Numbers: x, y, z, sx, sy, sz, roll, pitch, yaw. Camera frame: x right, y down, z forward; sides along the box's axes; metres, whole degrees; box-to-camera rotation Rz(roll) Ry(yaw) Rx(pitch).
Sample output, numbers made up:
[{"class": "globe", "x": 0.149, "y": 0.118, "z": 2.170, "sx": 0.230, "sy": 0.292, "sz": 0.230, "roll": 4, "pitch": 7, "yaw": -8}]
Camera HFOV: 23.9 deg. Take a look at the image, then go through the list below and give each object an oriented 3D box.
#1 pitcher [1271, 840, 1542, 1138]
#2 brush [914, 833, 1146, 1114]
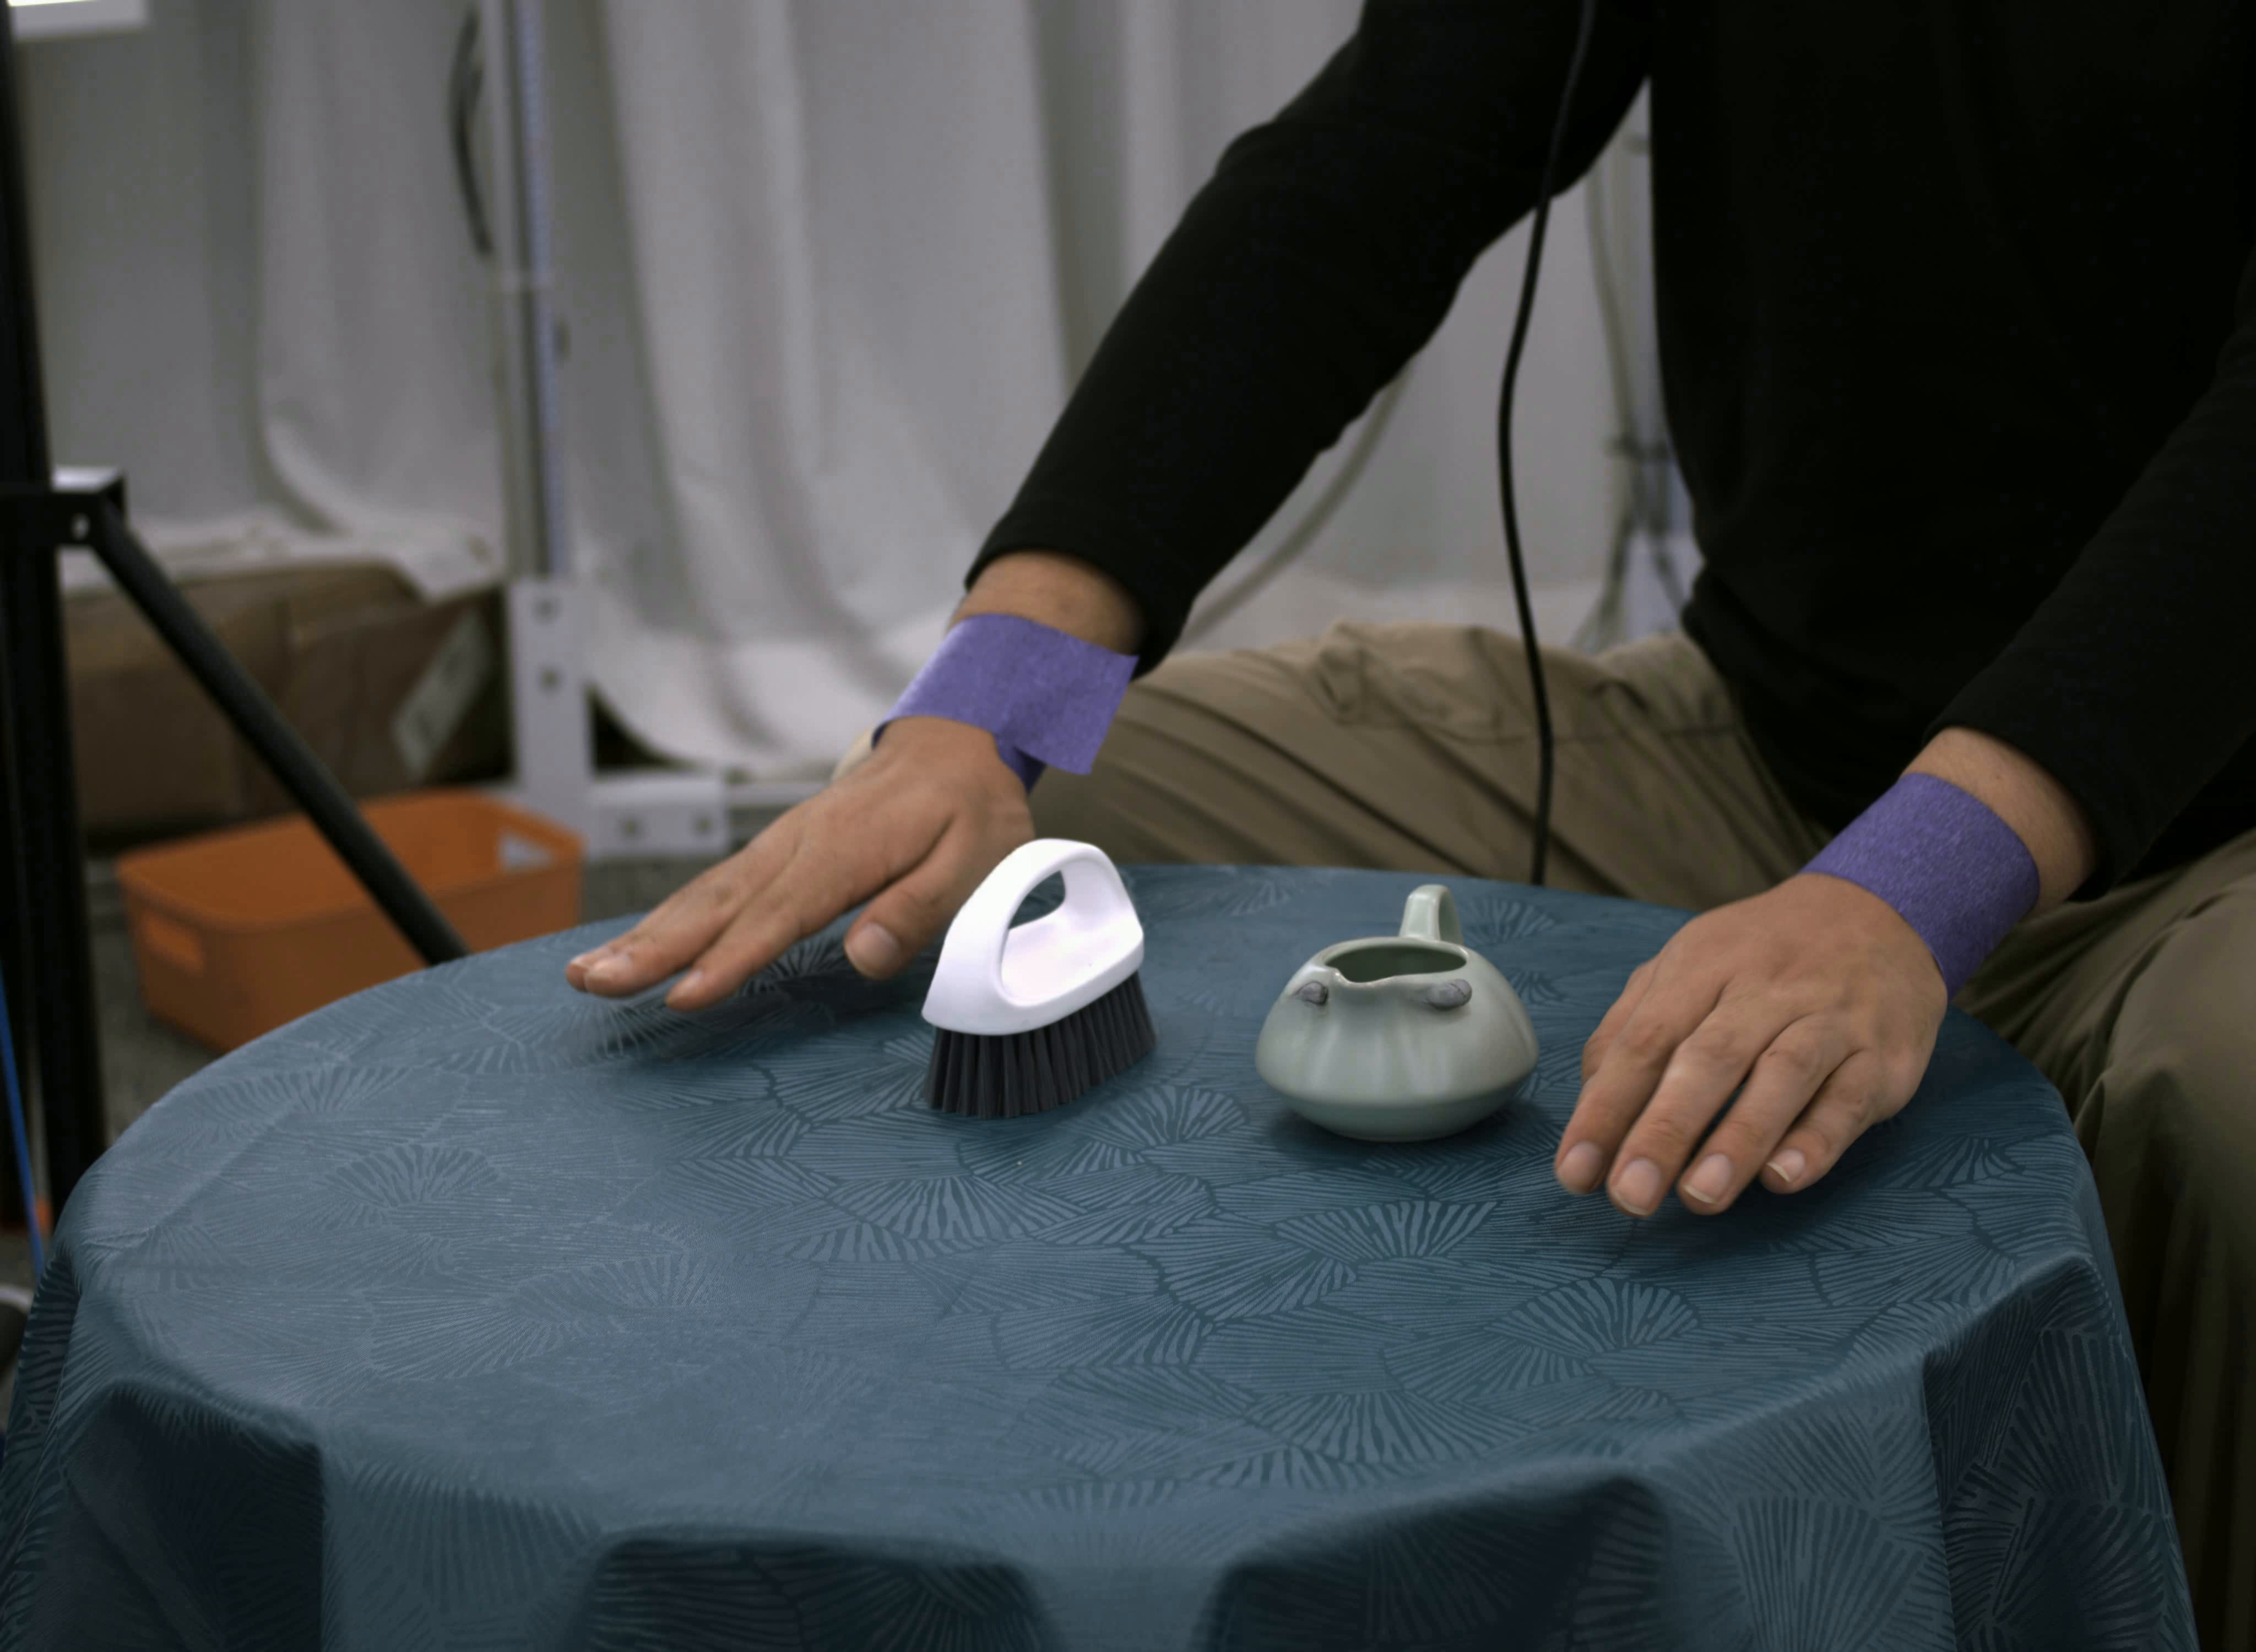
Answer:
[{"class": "pitcher", "x": 0.088, "y": 0.052, "z": 1.625, "sx": 0.087, "sy": 0.060, "sz": 0.107, "roll": -5, "pitch": 29, "yaw": 35}, {"class": "brush", "x": -0.030, "y": 0.041, "z": 1.665, "sx": 0.051, "sy": 0.072, "sz": 0.097, "roll": 8, "pitch": 20, "yaw": 29}]
